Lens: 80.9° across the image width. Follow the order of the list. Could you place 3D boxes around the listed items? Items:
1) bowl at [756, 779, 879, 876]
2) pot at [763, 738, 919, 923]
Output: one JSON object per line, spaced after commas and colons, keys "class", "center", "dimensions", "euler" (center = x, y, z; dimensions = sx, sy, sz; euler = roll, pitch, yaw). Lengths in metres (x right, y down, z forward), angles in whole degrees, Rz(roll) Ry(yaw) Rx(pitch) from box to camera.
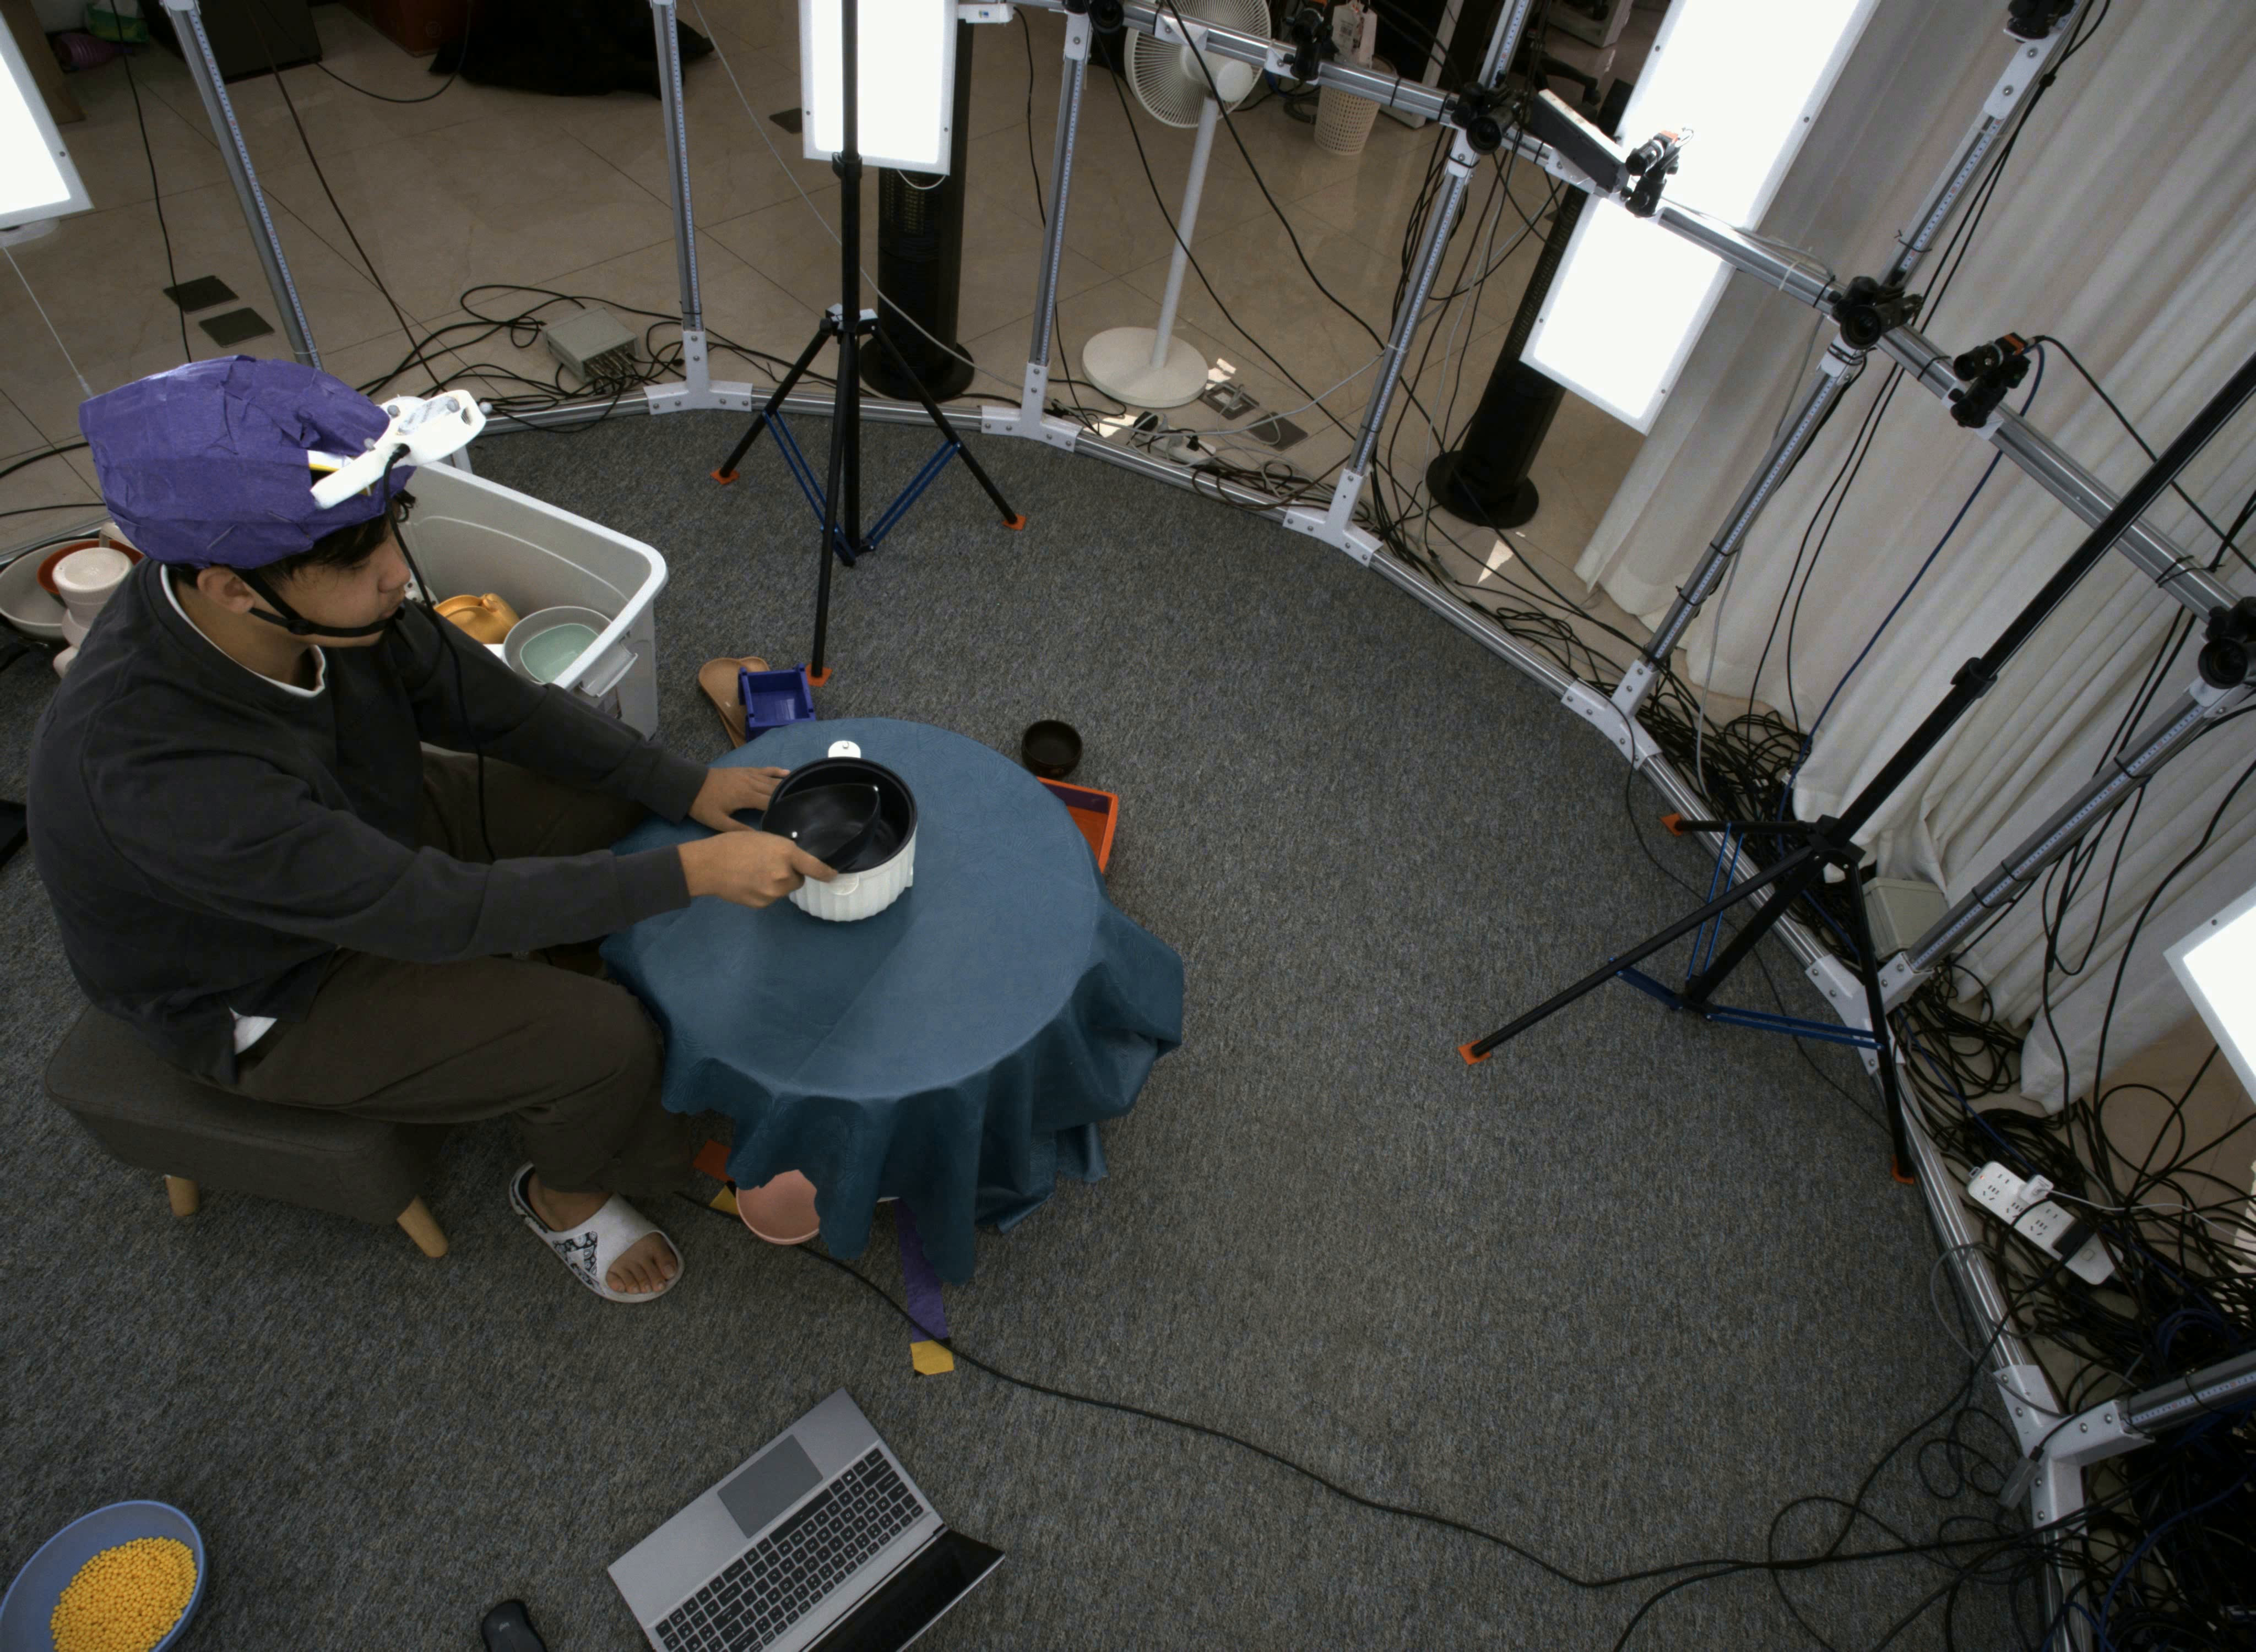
{"class": "bowl", "center": [-0.342, 0.009, 1.458], "dimensions": [0.136, 0.069, 0.166], "euler": [-8, 30, 0]}
{"class": "pot", "center": [-0.361, 0.024, 1.629], "dimensions": [0.191, 0.145, 0.235], "euler": [2, 52, -15]}
